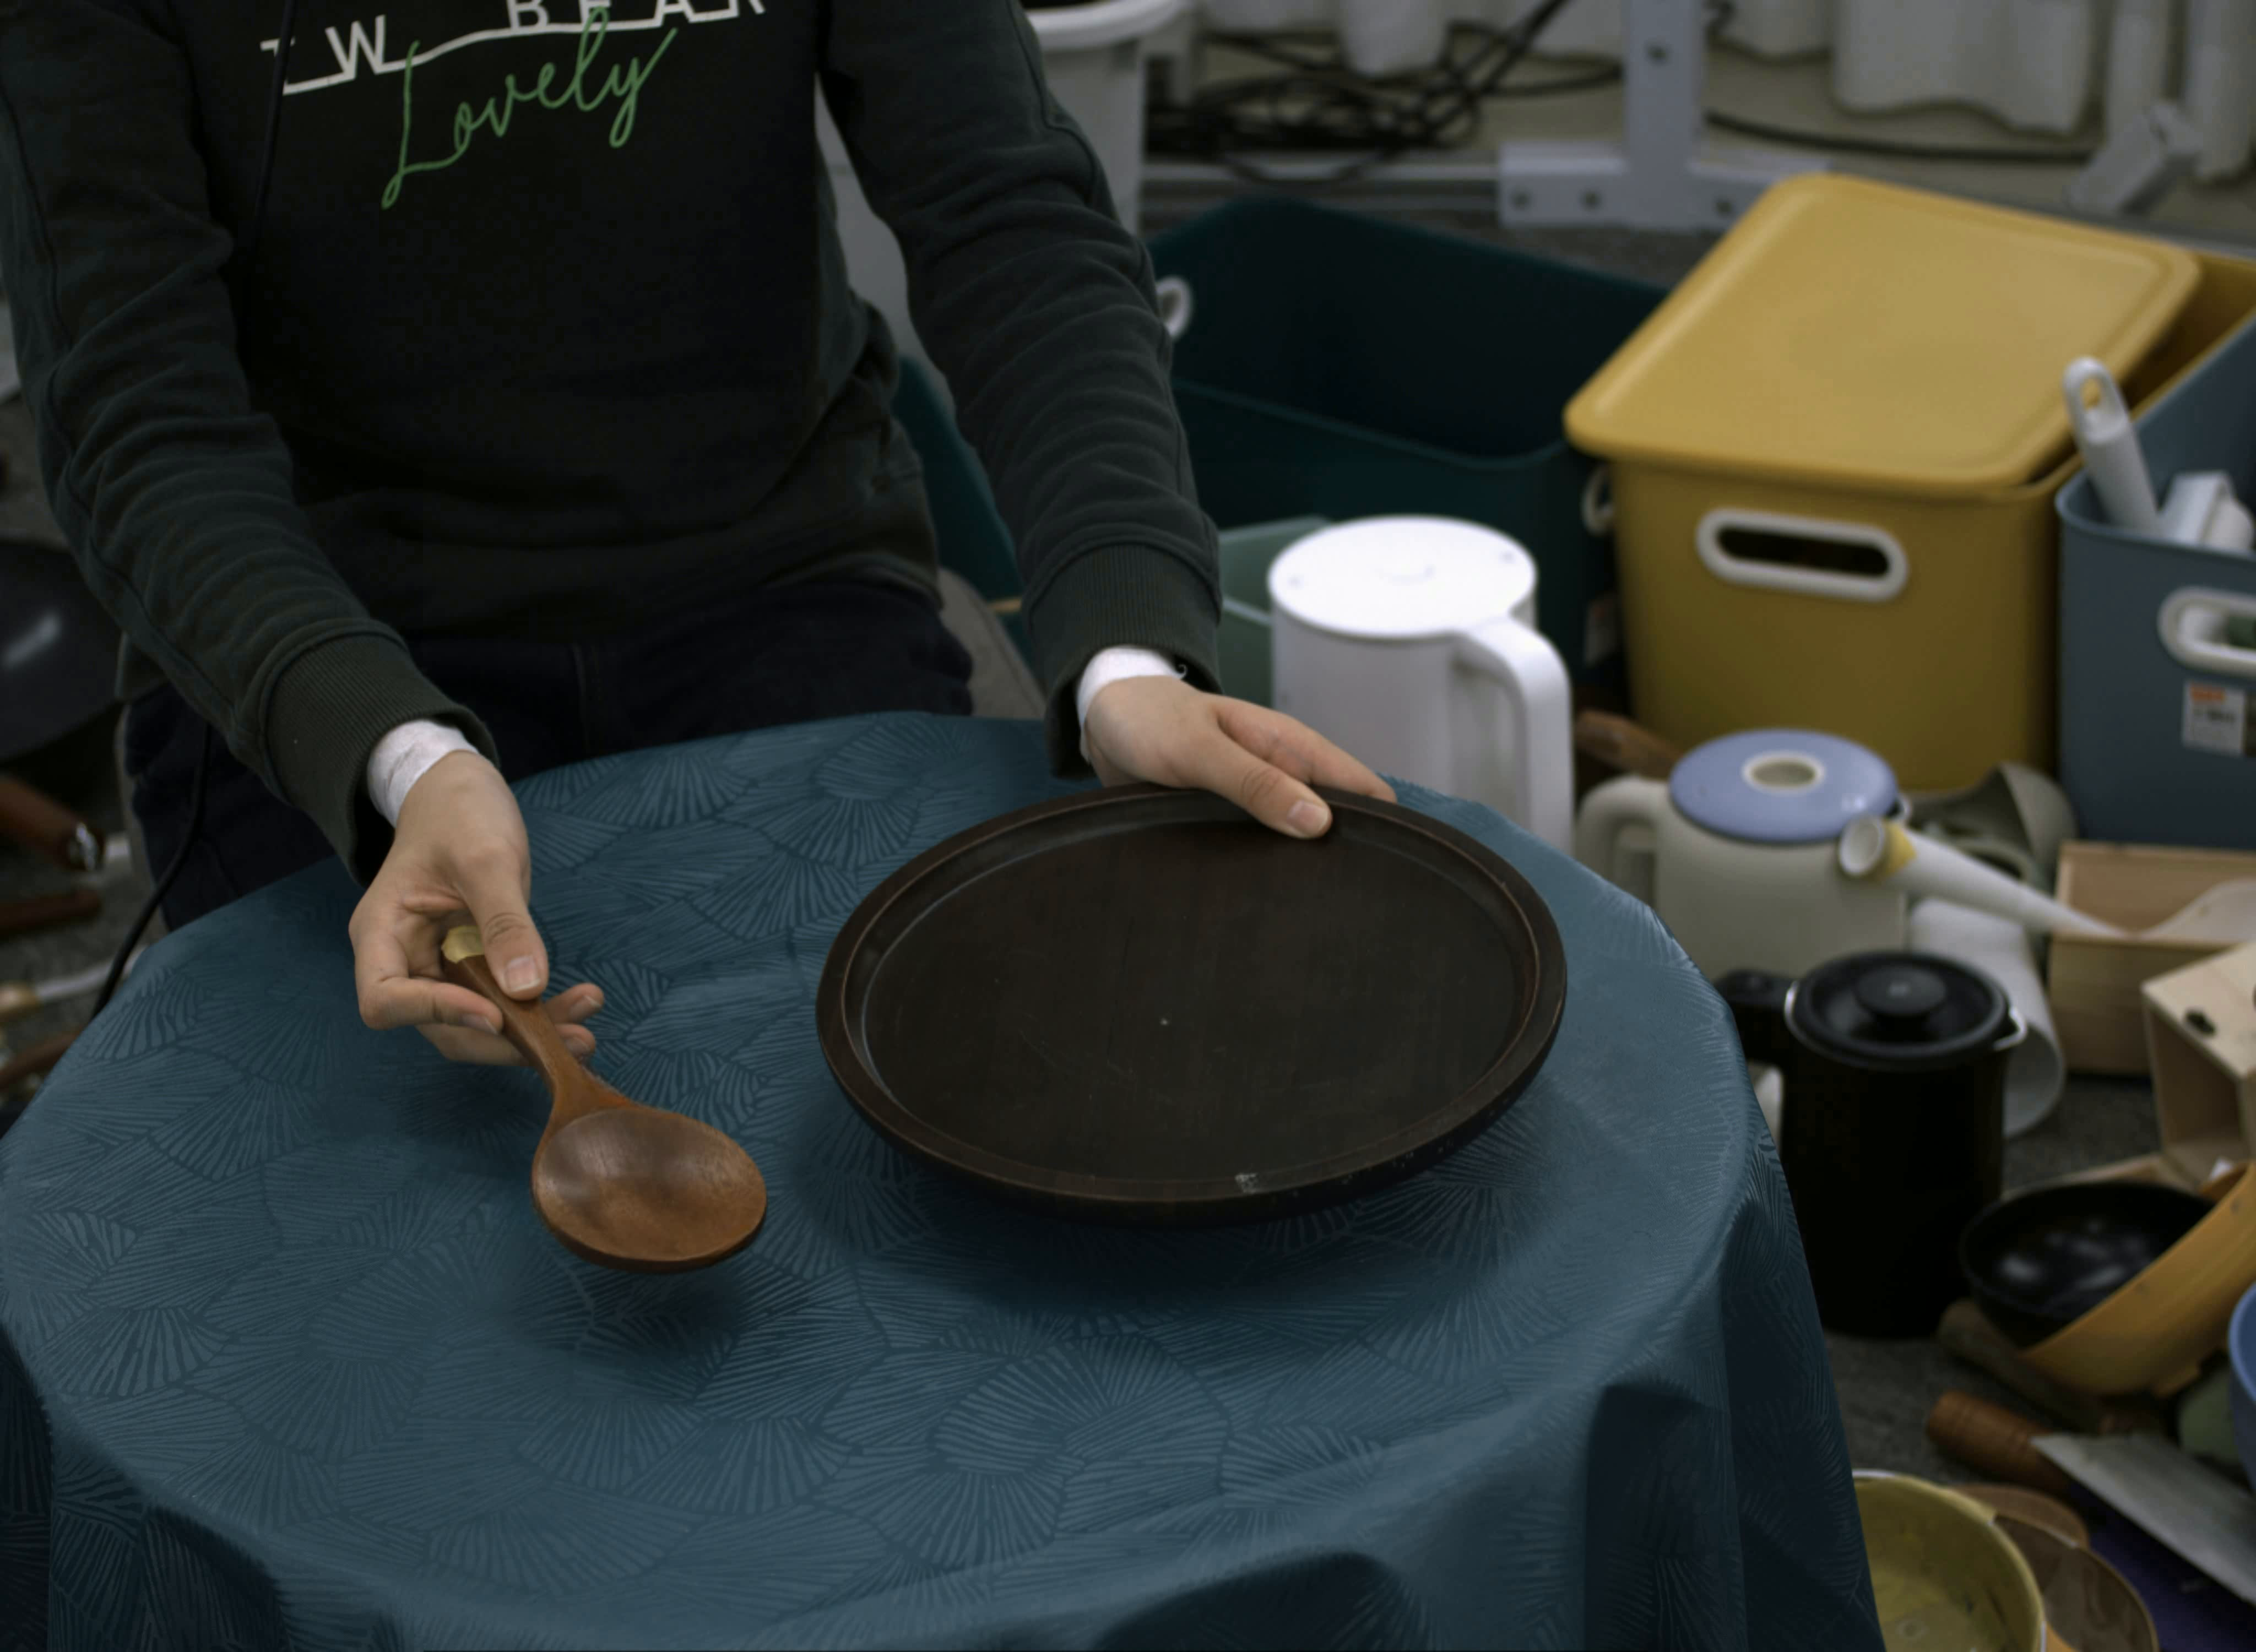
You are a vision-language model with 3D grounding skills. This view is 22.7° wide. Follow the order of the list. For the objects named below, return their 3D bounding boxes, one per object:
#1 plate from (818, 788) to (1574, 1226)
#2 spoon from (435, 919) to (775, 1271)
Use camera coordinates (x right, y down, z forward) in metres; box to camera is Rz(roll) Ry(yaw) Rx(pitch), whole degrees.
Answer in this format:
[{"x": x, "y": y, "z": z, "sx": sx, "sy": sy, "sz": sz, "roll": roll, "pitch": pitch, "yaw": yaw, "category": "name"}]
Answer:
[{"x": 0.023, "y": 0.058, "z": 1.879, "sx": 0.253, "sy": 0.028, "sz": 0.259, "roll": -1, "pitch": 32, "yaw": 1, "category": "plate"}, {"x": -0.181, "y": 0.089, "z": 1.851, "sx": 0.076, "sy": 0.017, "sz": 0.217, "roll": -13, "pitch": 34, "yaw": -24, "category": "spoon"}]
